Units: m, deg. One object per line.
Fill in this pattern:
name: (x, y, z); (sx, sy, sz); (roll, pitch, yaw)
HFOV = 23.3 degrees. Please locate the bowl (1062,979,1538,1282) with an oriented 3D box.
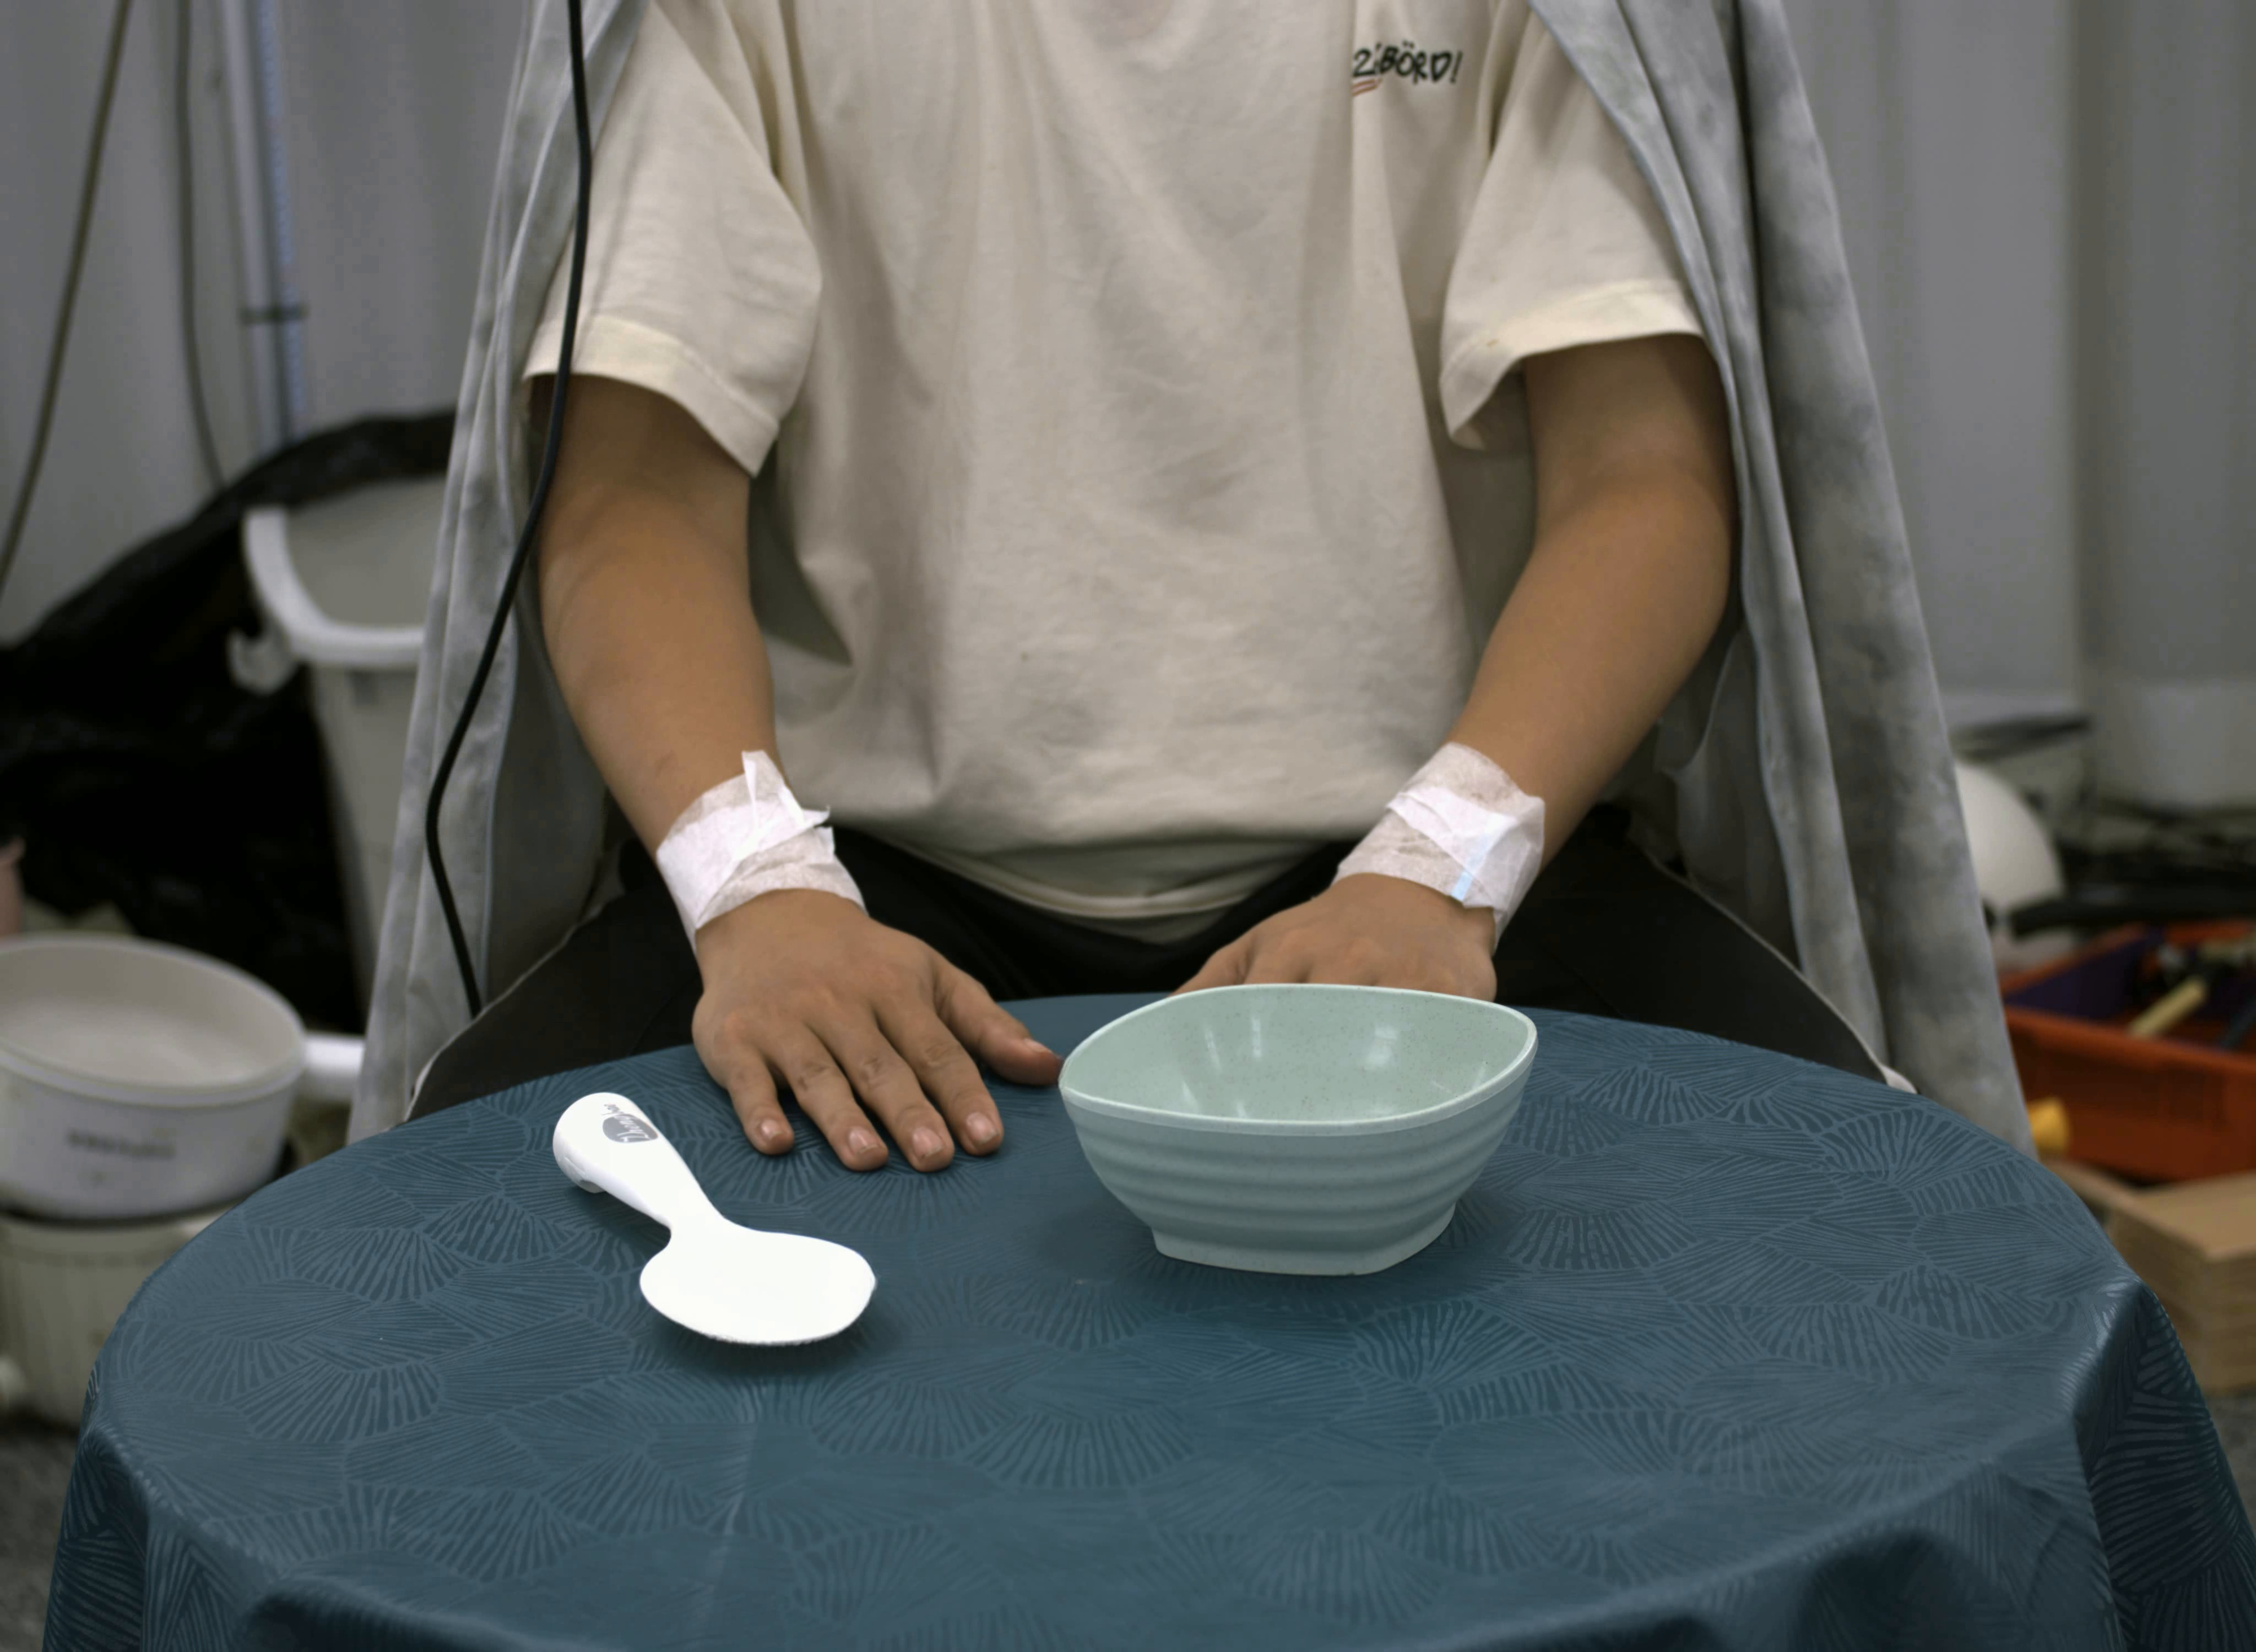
bowl: (0.054, 0.096, 1.670); (0.151, 0.058, 0.152); (-4, 16, 1)

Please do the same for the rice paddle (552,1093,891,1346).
rice paddle: (-0.129, 0.122, 1.661); (0.068, 0.029, 0.207); (-10, 16, -21)
